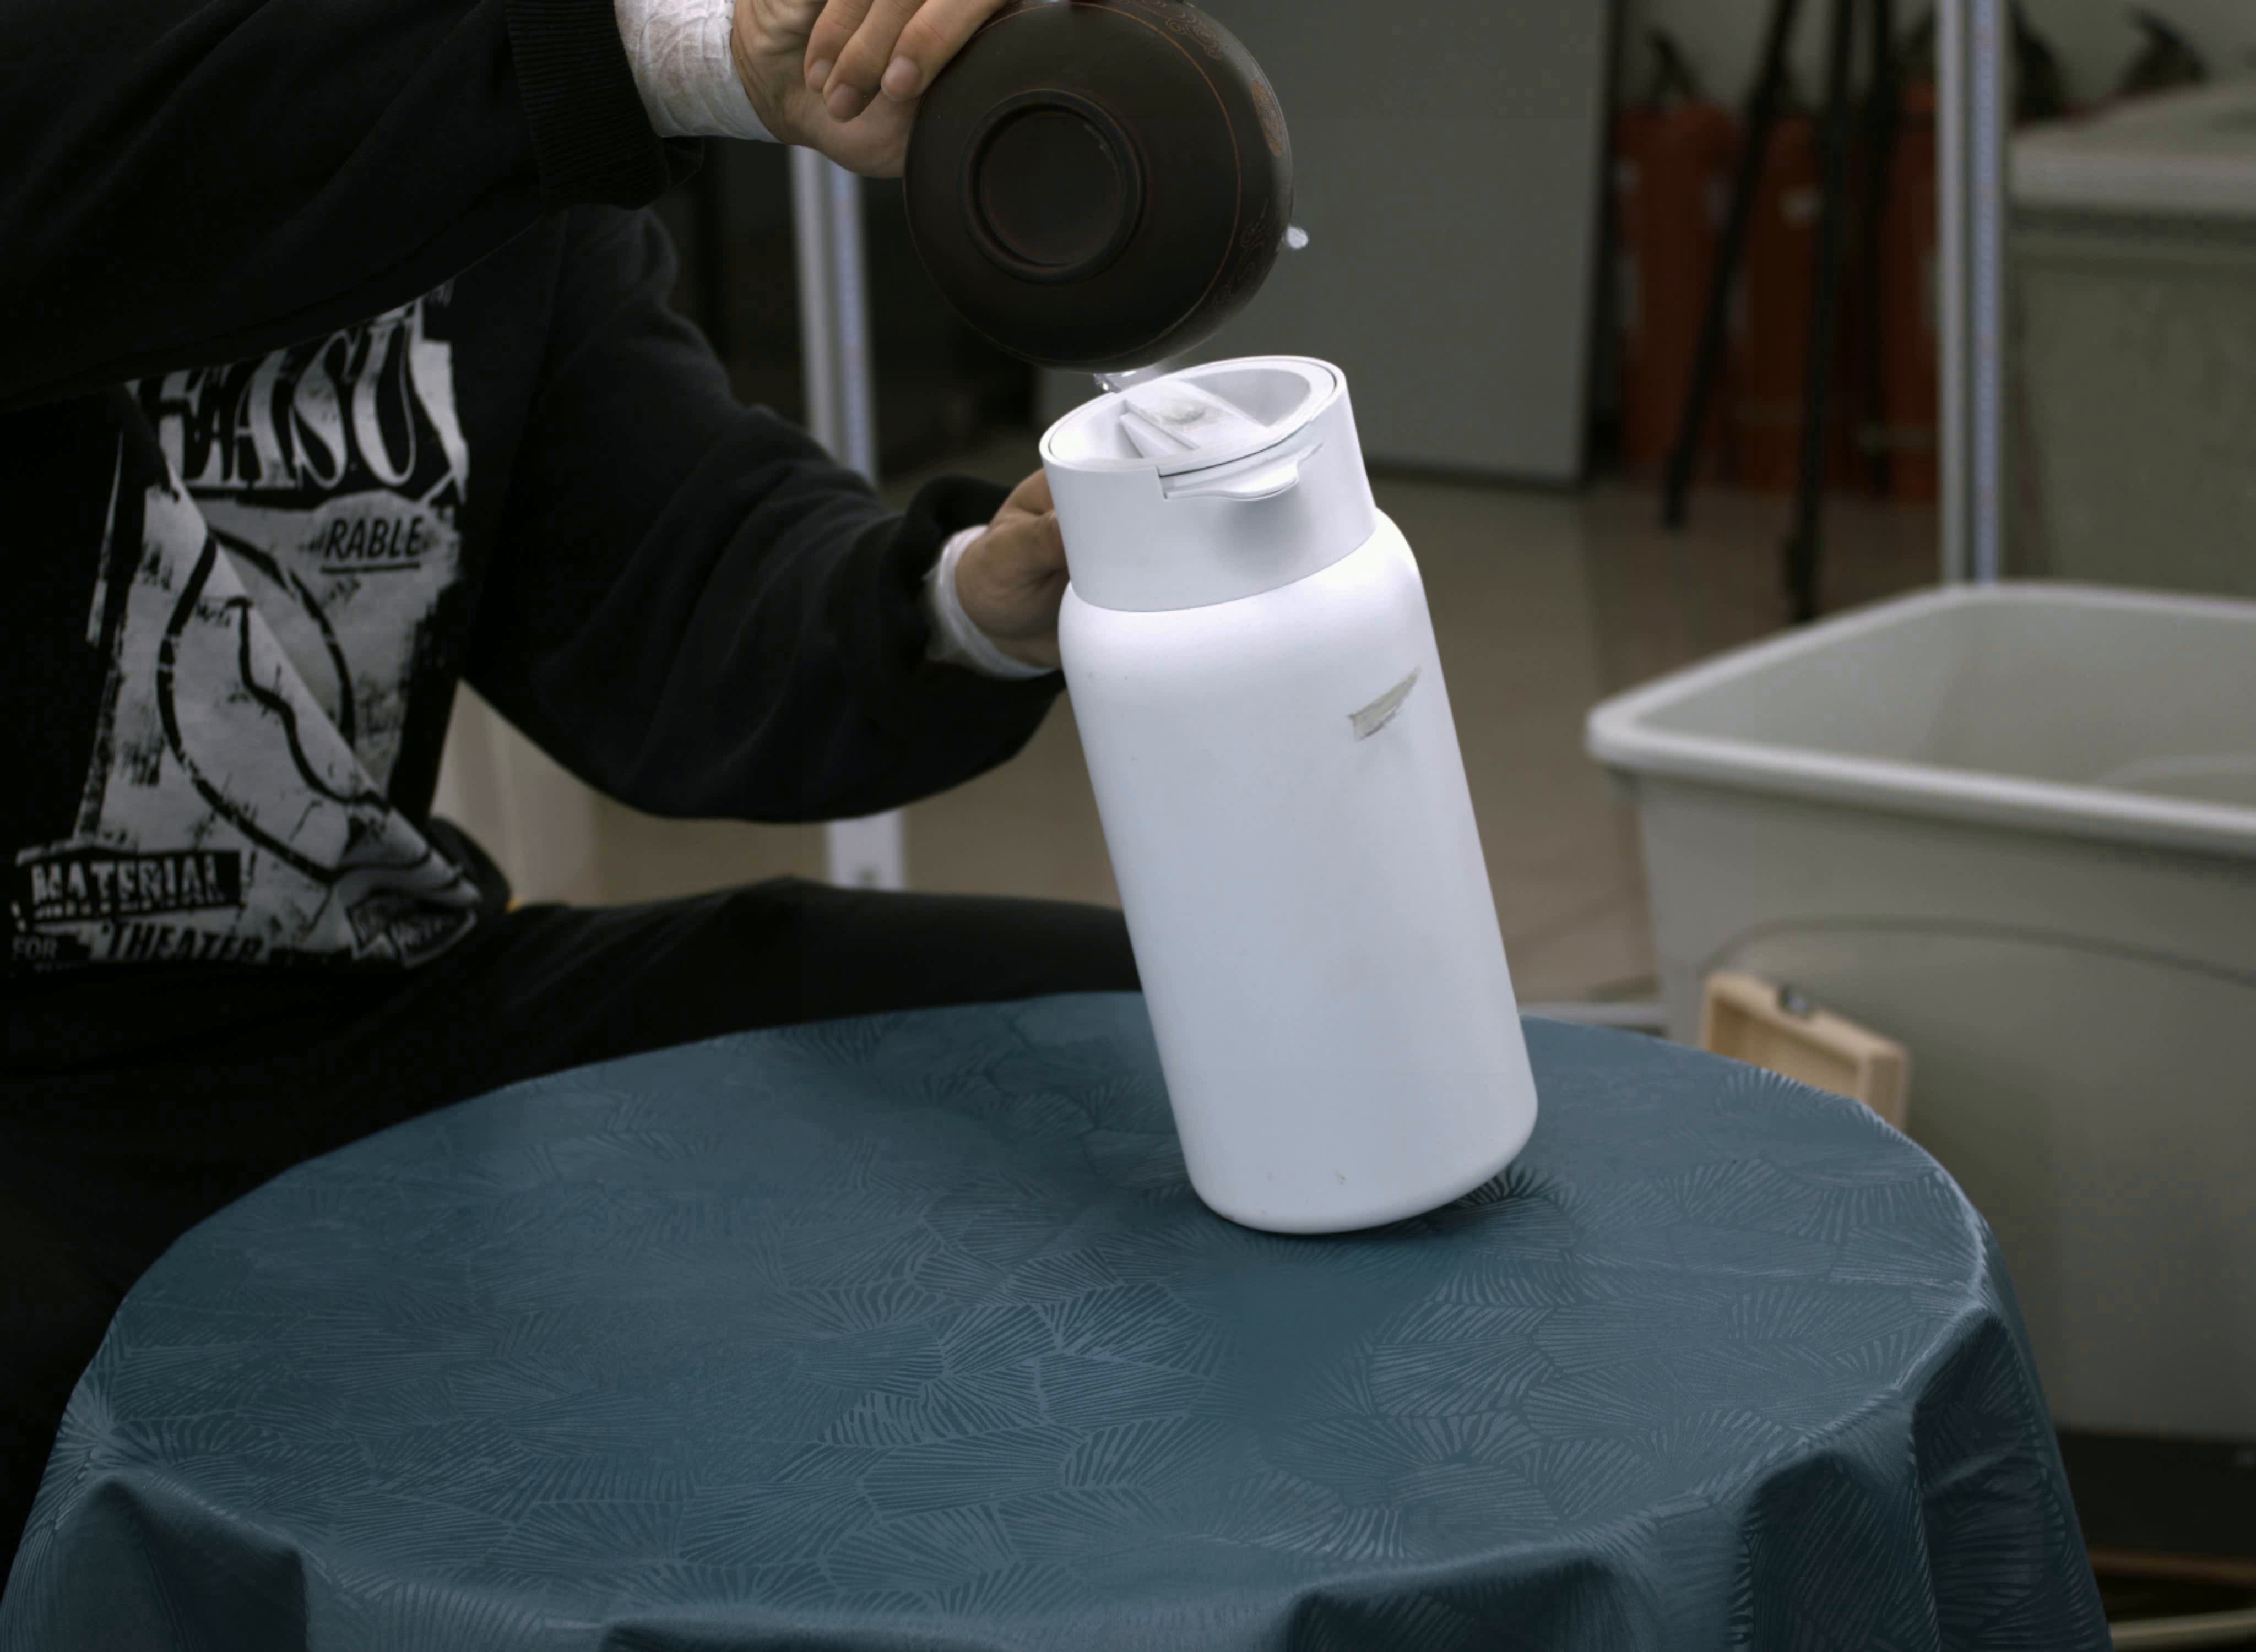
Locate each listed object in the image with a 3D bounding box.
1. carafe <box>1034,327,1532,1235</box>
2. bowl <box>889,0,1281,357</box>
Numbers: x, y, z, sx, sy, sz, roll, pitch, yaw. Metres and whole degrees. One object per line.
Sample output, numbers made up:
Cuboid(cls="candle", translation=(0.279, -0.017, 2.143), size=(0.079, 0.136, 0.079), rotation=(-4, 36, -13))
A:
Cuboid(cls="carafe", translation=(0.040, -0.017, 1.727), size=(0.122, 0.270, 0.174), rotation=(-22, 21, -14))
Cuboid(cls="bowl", translation=(-0.018, -0.198, 1.606), size=(0.118, 0.119, 0.069), rotation=(1, 9, 20))
